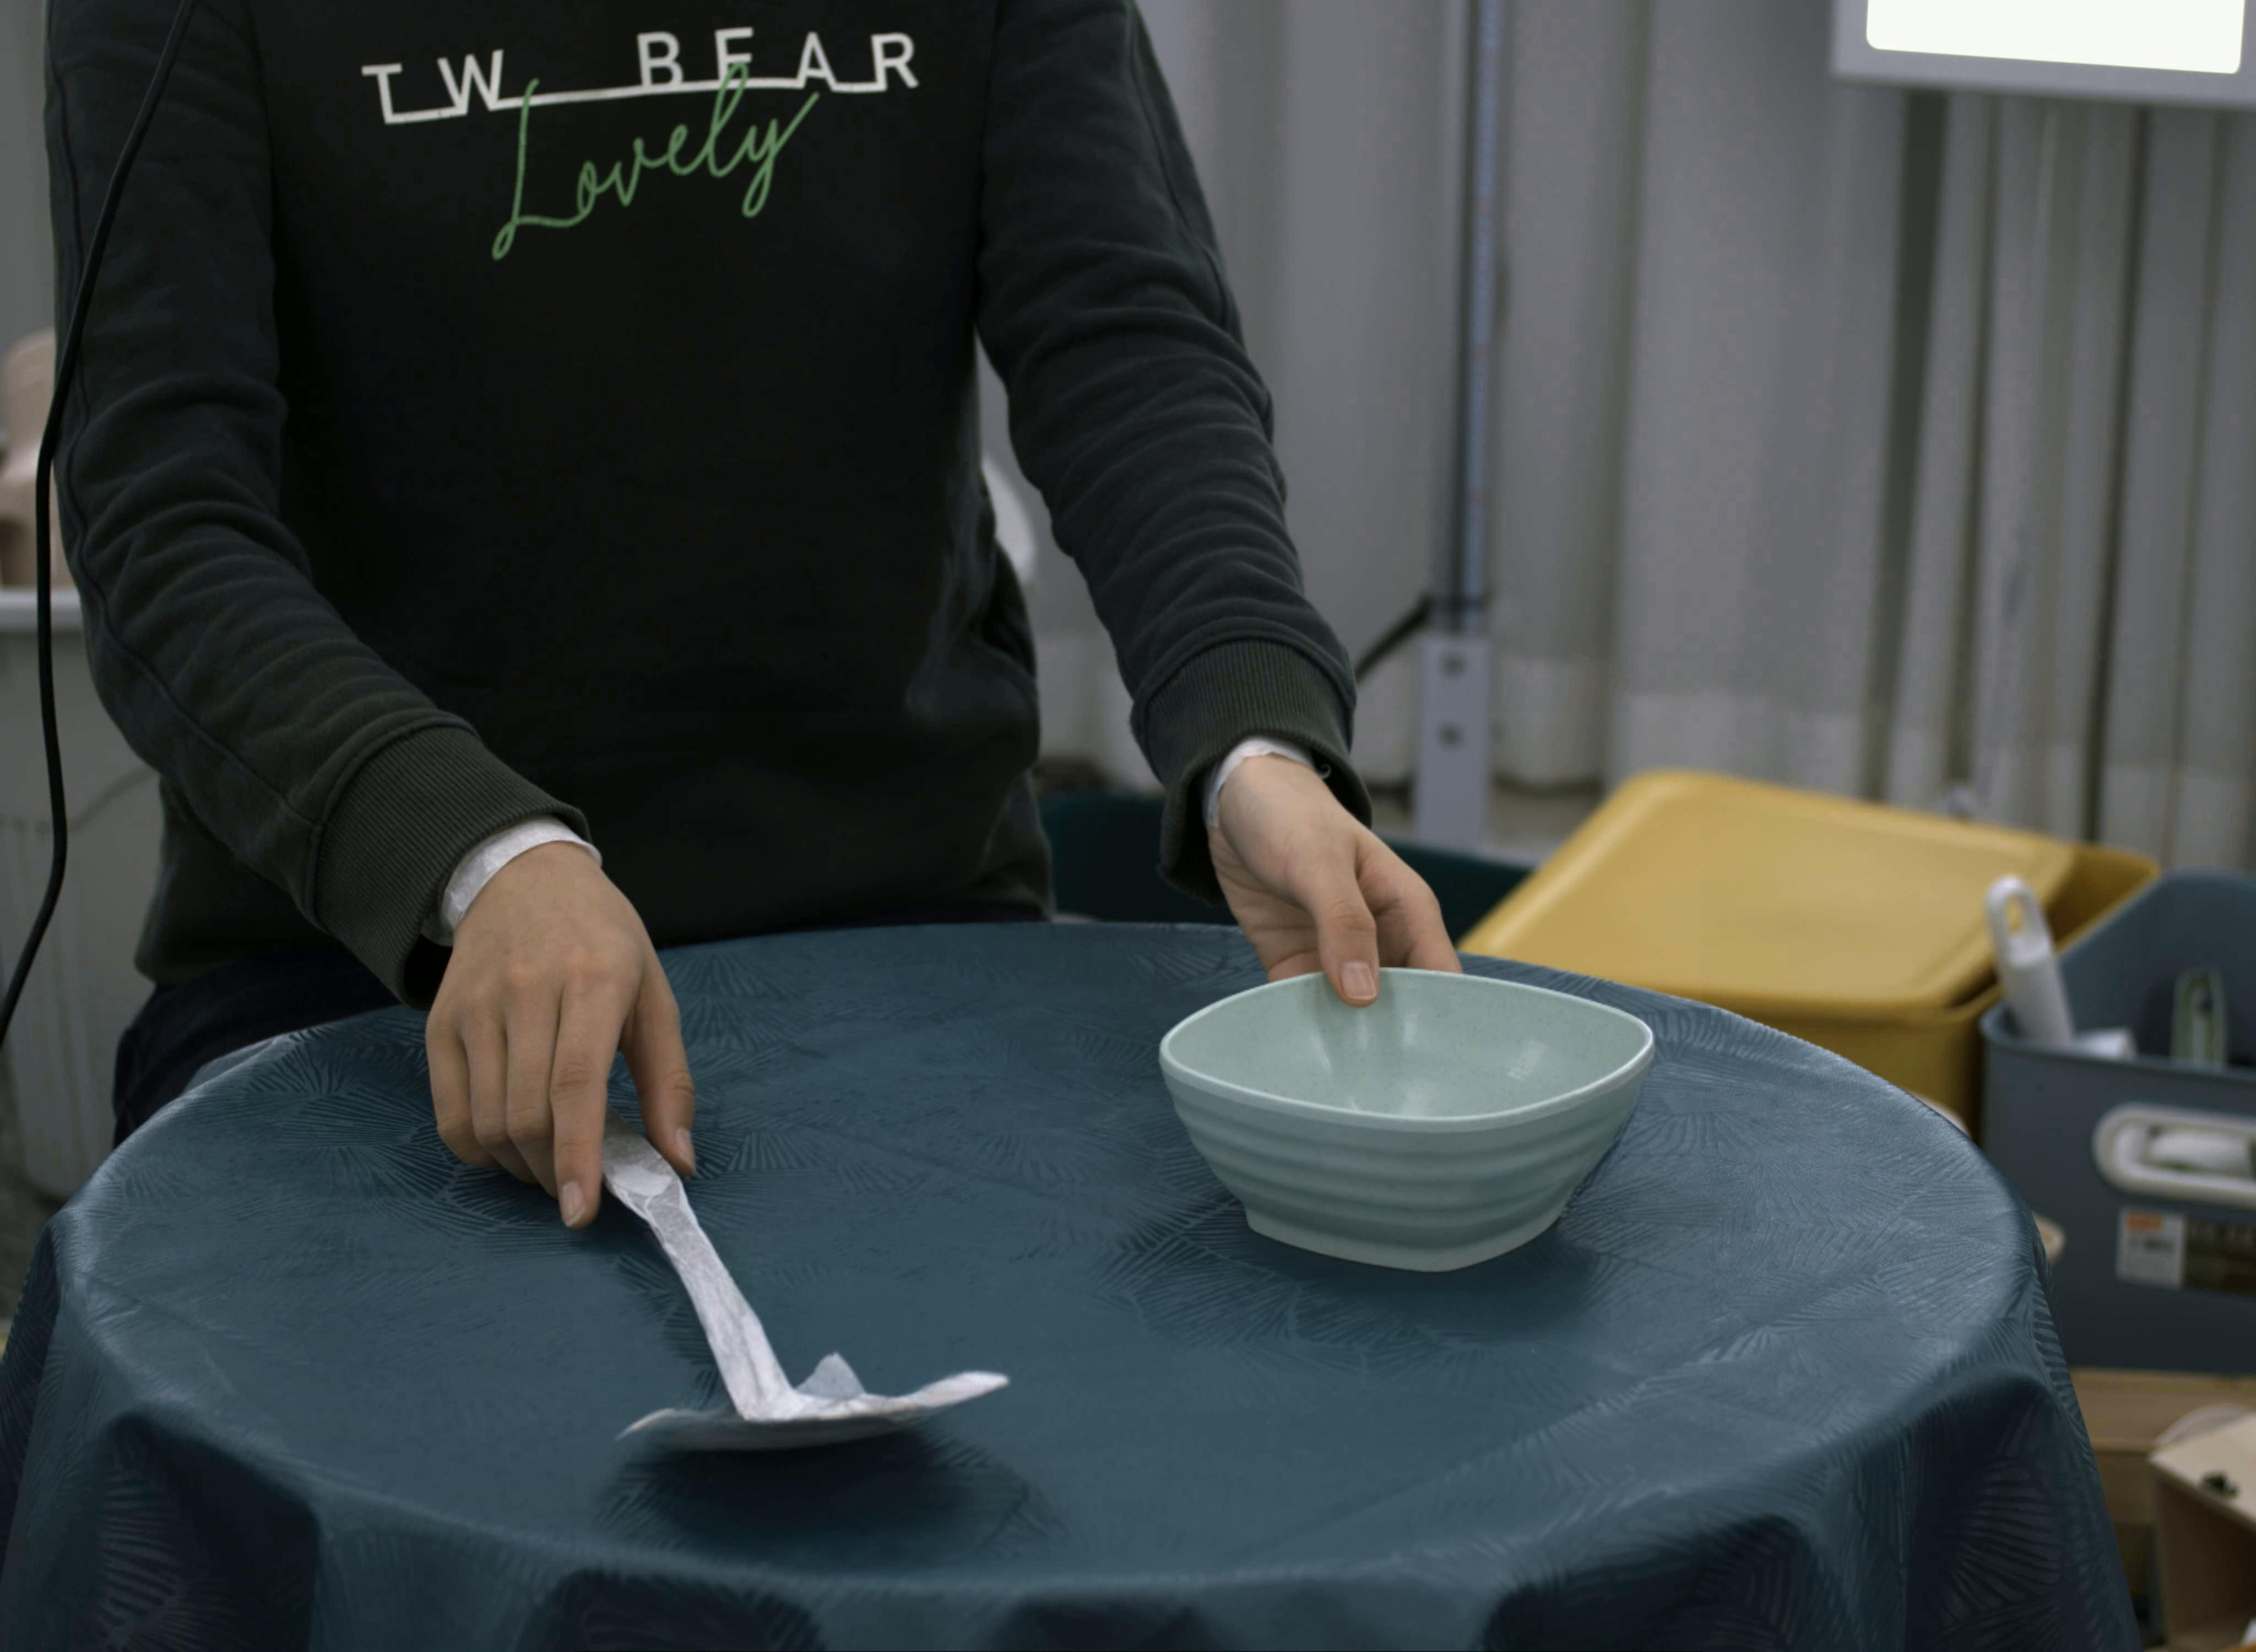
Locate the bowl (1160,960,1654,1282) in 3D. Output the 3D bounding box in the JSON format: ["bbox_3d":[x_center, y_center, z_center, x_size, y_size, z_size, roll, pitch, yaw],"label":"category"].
[{"bbox_3d":[0.084,0.093,1.598,0.151,0.059,0.150,2,18,0],"label":"bowl"}]

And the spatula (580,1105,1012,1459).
[{"bbox_3d":[-0.121,0.122,1.517,0.099,0.045,0.361,-6,17,-15],"label":"spatula"}]
